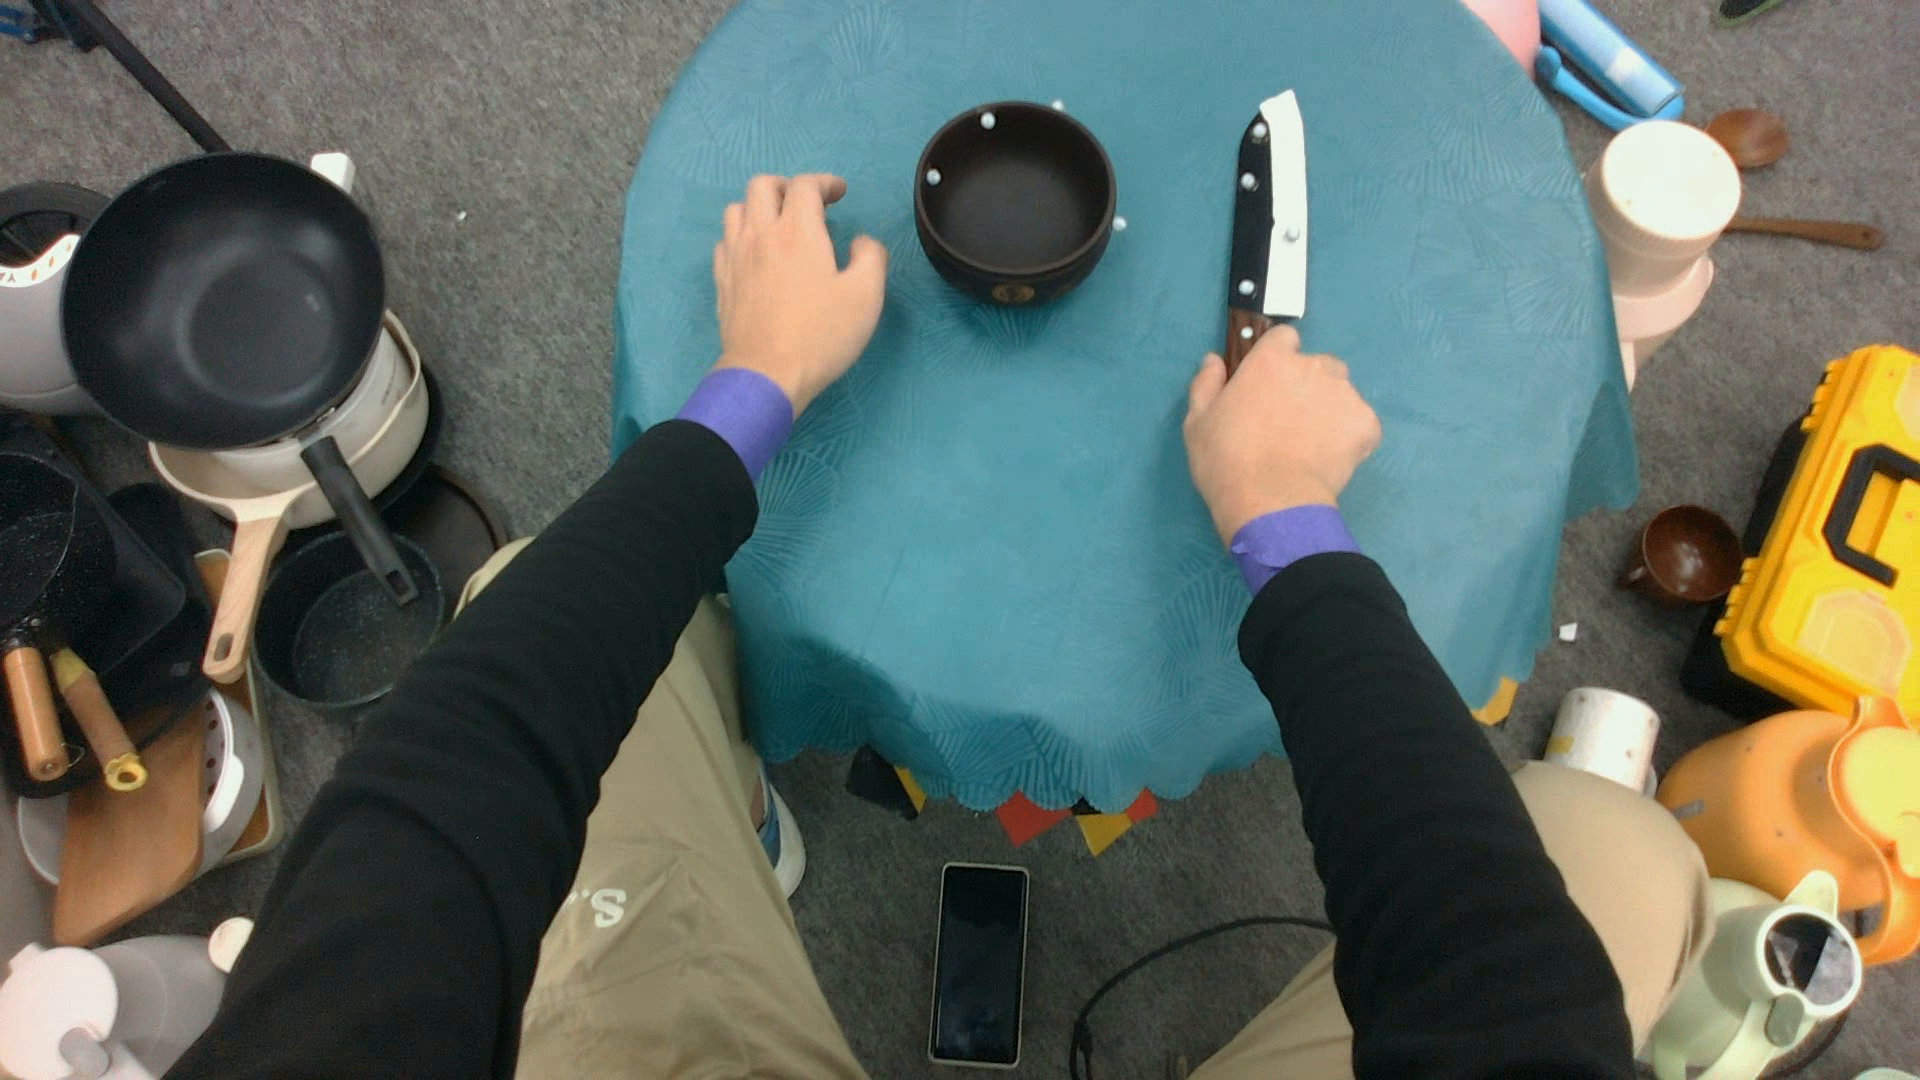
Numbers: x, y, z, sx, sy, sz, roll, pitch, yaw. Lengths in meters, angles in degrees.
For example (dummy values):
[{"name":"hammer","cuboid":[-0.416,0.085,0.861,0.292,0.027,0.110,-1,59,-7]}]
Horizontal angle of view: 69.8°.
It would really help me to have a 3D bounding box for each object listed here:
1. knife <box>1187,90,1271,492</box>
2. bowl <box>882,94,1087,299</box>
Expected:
[{"name":"knife","cuboid":[0.163,-0.159,0.830,0.050,0.020,0.290,6,66,8]},{"name":"bowl","cuboid":[0.014,-0.194,0.811,0.118,0.069,0.118,0,70,-1]}]
